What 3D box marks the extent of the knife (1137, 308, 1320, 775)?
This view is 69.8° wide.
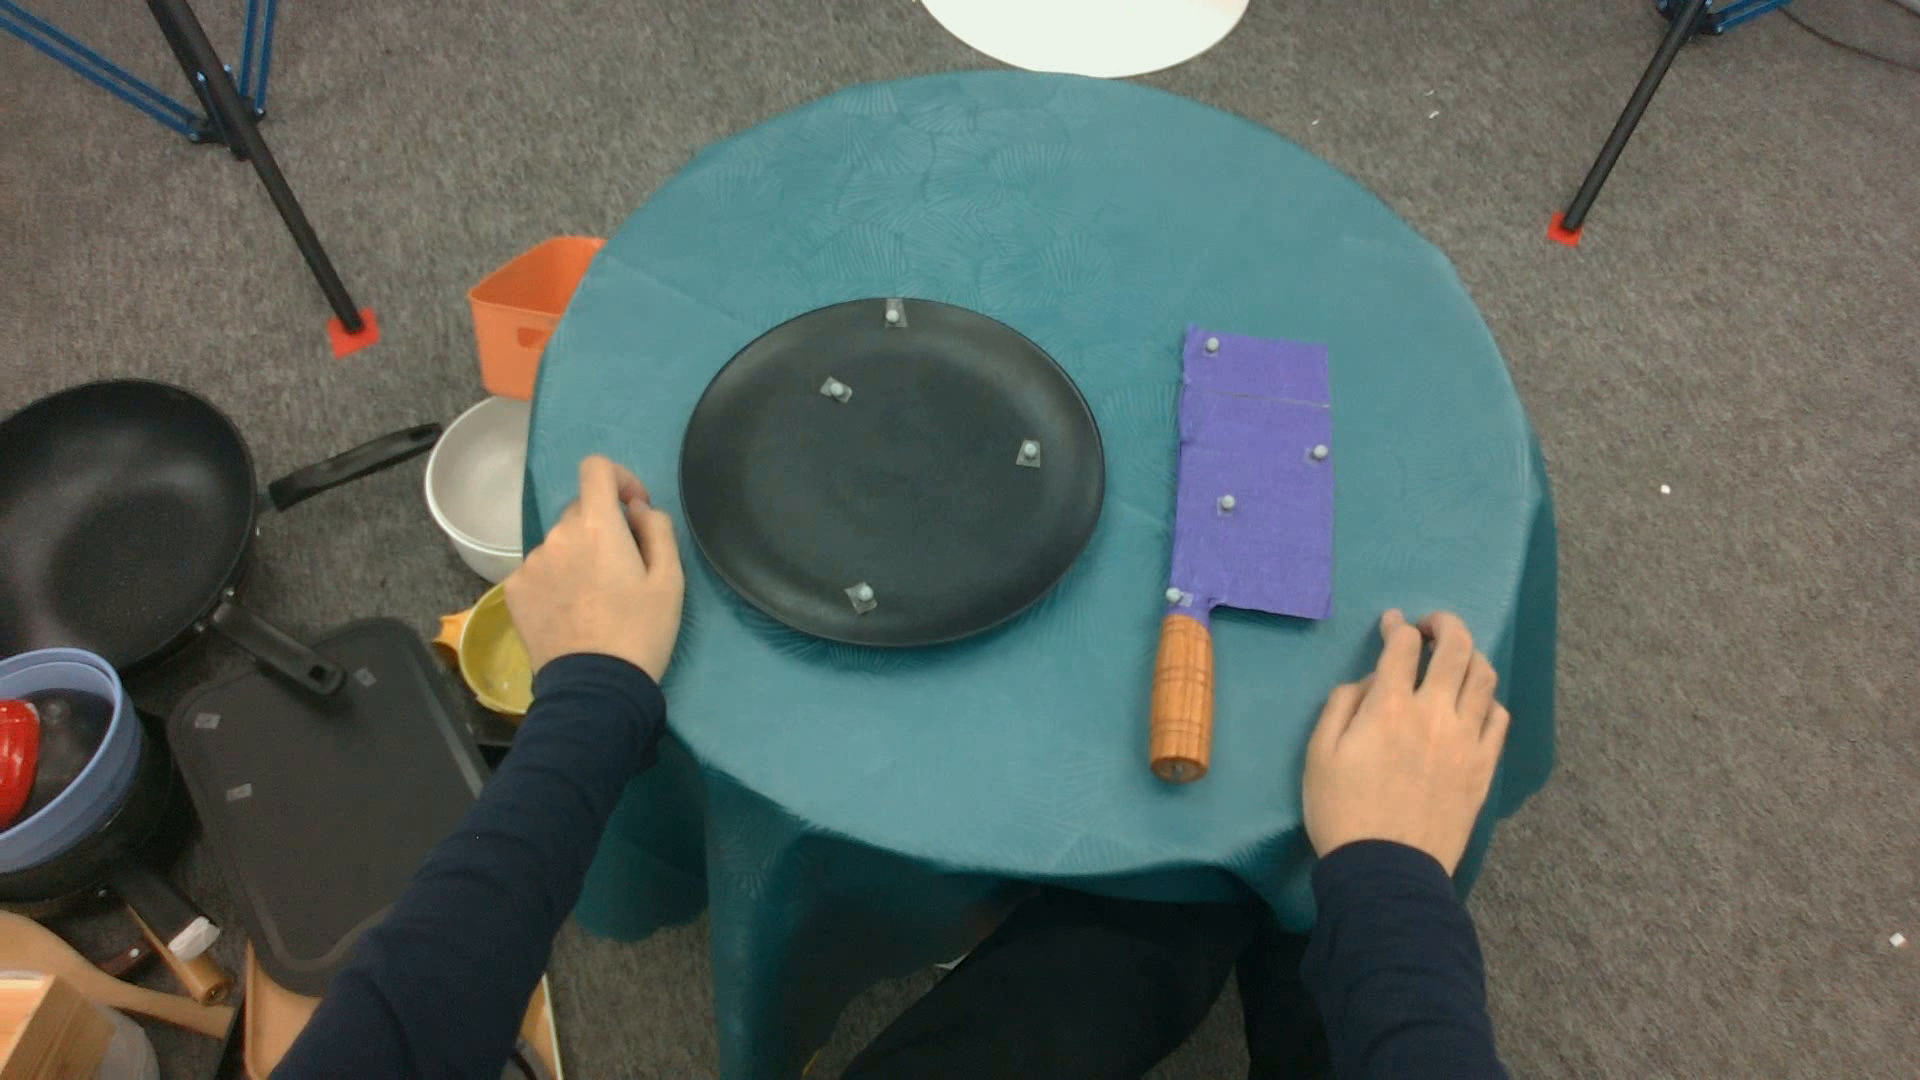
[{"bbox_3d":[0.153,-0.013,0.781,0.104,0.032,0.316,8,57,1],"label":"knife"}]

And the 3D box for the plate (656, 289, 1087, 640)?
[{"bbox_3d":[-0.049,-0.047,0.789,0.244,0.023,0.245,2,57,-3],"label":"plate"}]
